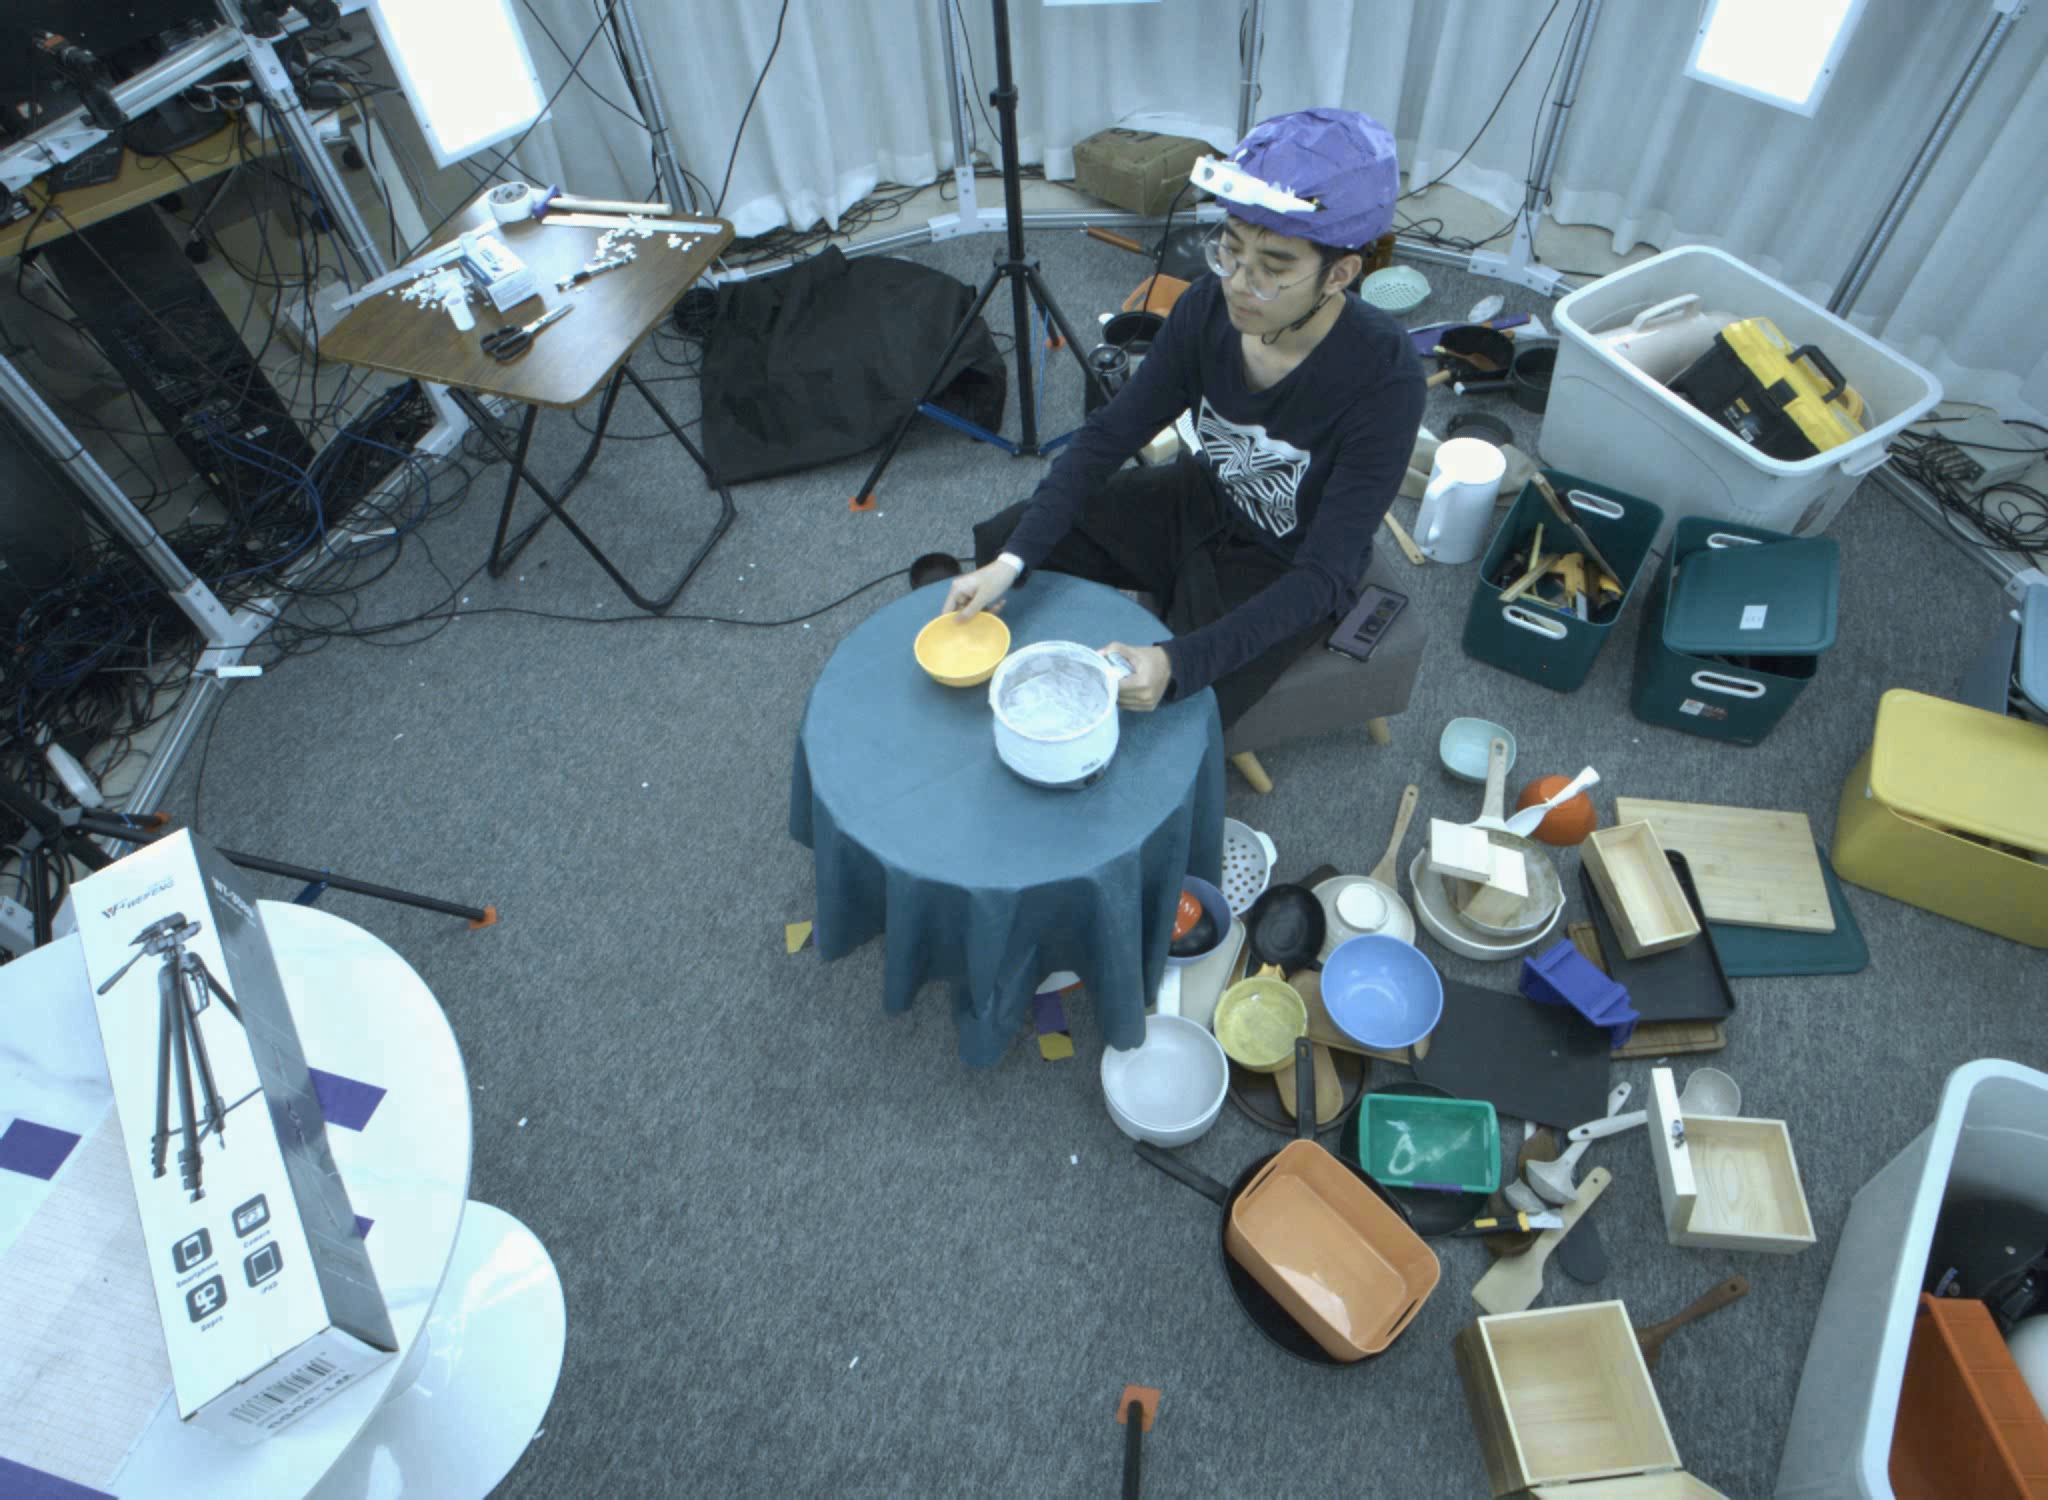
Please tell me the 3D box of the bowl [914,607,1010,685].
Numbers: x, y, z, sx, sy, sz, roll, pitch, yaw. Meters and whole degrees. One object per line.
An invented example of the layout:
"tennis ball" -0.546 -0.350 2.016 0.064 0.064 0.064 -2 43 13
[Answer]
"bowl" -0.090 -0.145 1.859 0.145 0.061 0.144 -2 50 4

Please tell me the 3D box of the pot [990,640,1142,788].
"pot" 0.067 -0.060 1.750 0.235 0.138 0.175 -31 61 -17
